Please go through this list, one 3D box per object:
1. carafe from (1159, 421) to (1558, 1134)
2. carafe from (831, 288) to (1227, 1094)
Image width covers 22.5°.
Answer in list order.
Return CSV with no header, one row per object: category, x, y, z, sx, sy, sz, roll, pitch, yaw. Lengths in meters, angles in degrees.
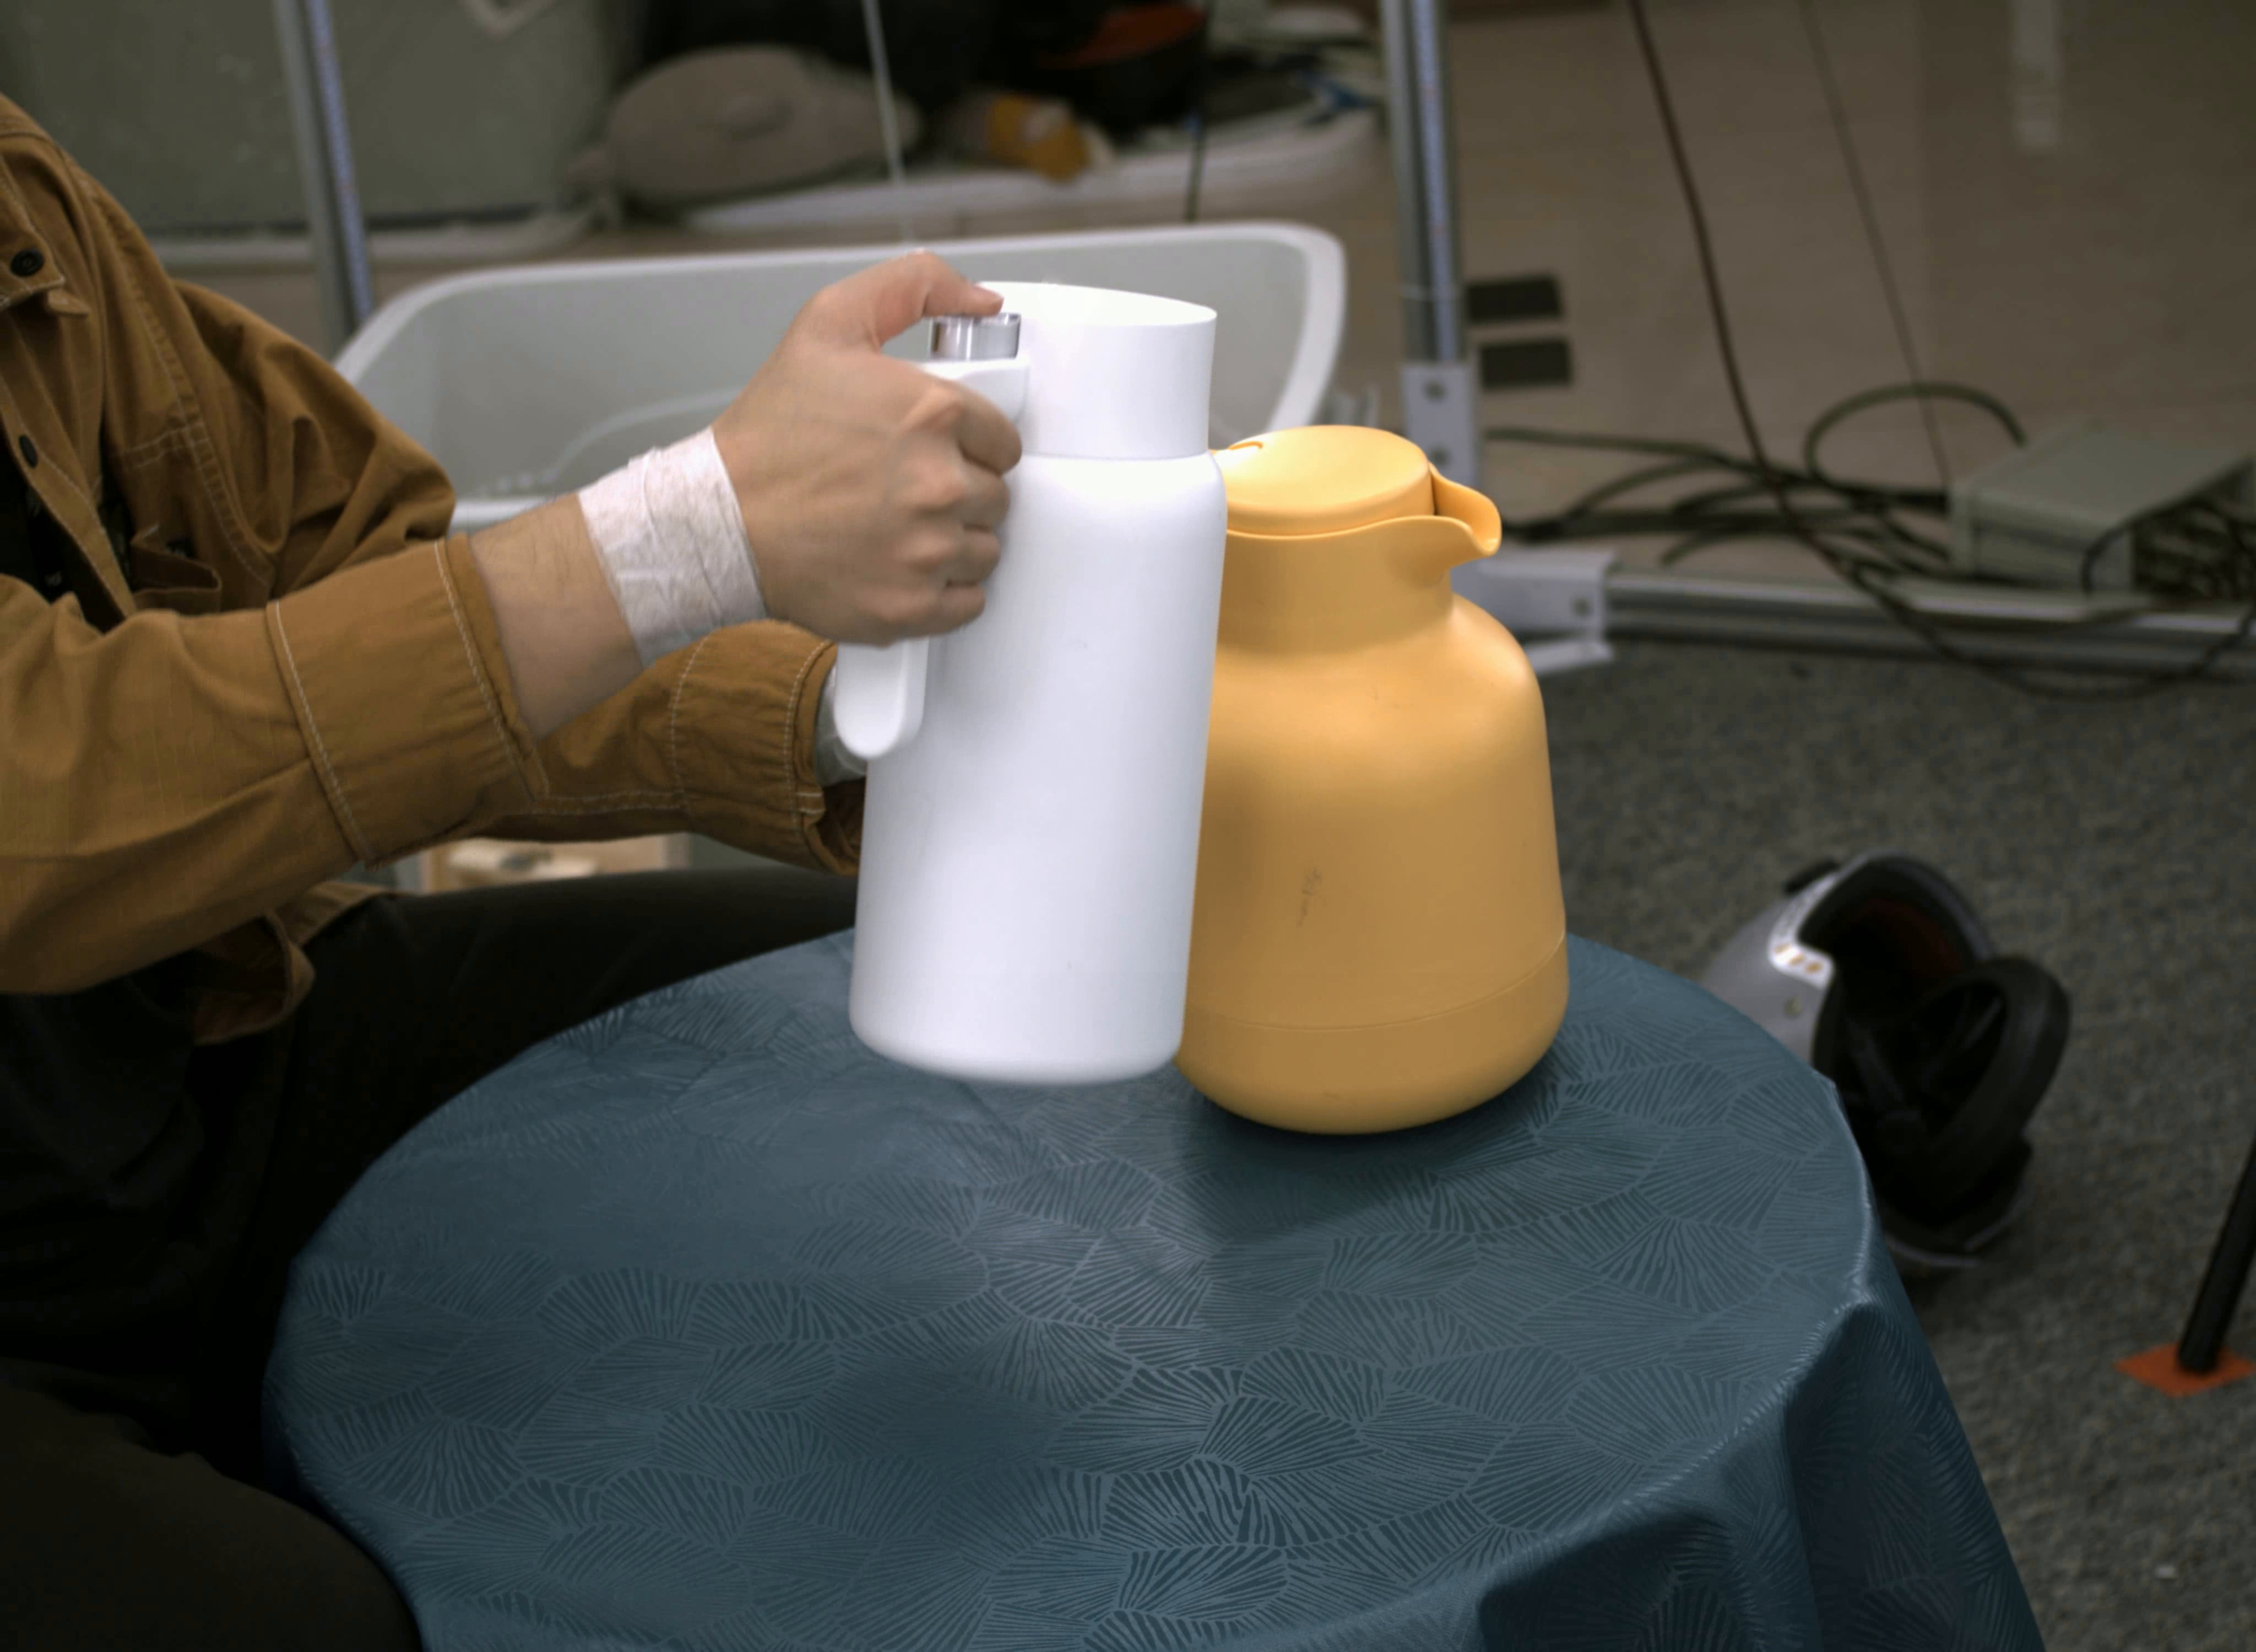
carafe,0.064,-0.026,2.172,0.201,0.264,0.161,11,28,29
carafe,-0.038,-0.046,1.937,0.123,0.272,0.172,15,17,32
